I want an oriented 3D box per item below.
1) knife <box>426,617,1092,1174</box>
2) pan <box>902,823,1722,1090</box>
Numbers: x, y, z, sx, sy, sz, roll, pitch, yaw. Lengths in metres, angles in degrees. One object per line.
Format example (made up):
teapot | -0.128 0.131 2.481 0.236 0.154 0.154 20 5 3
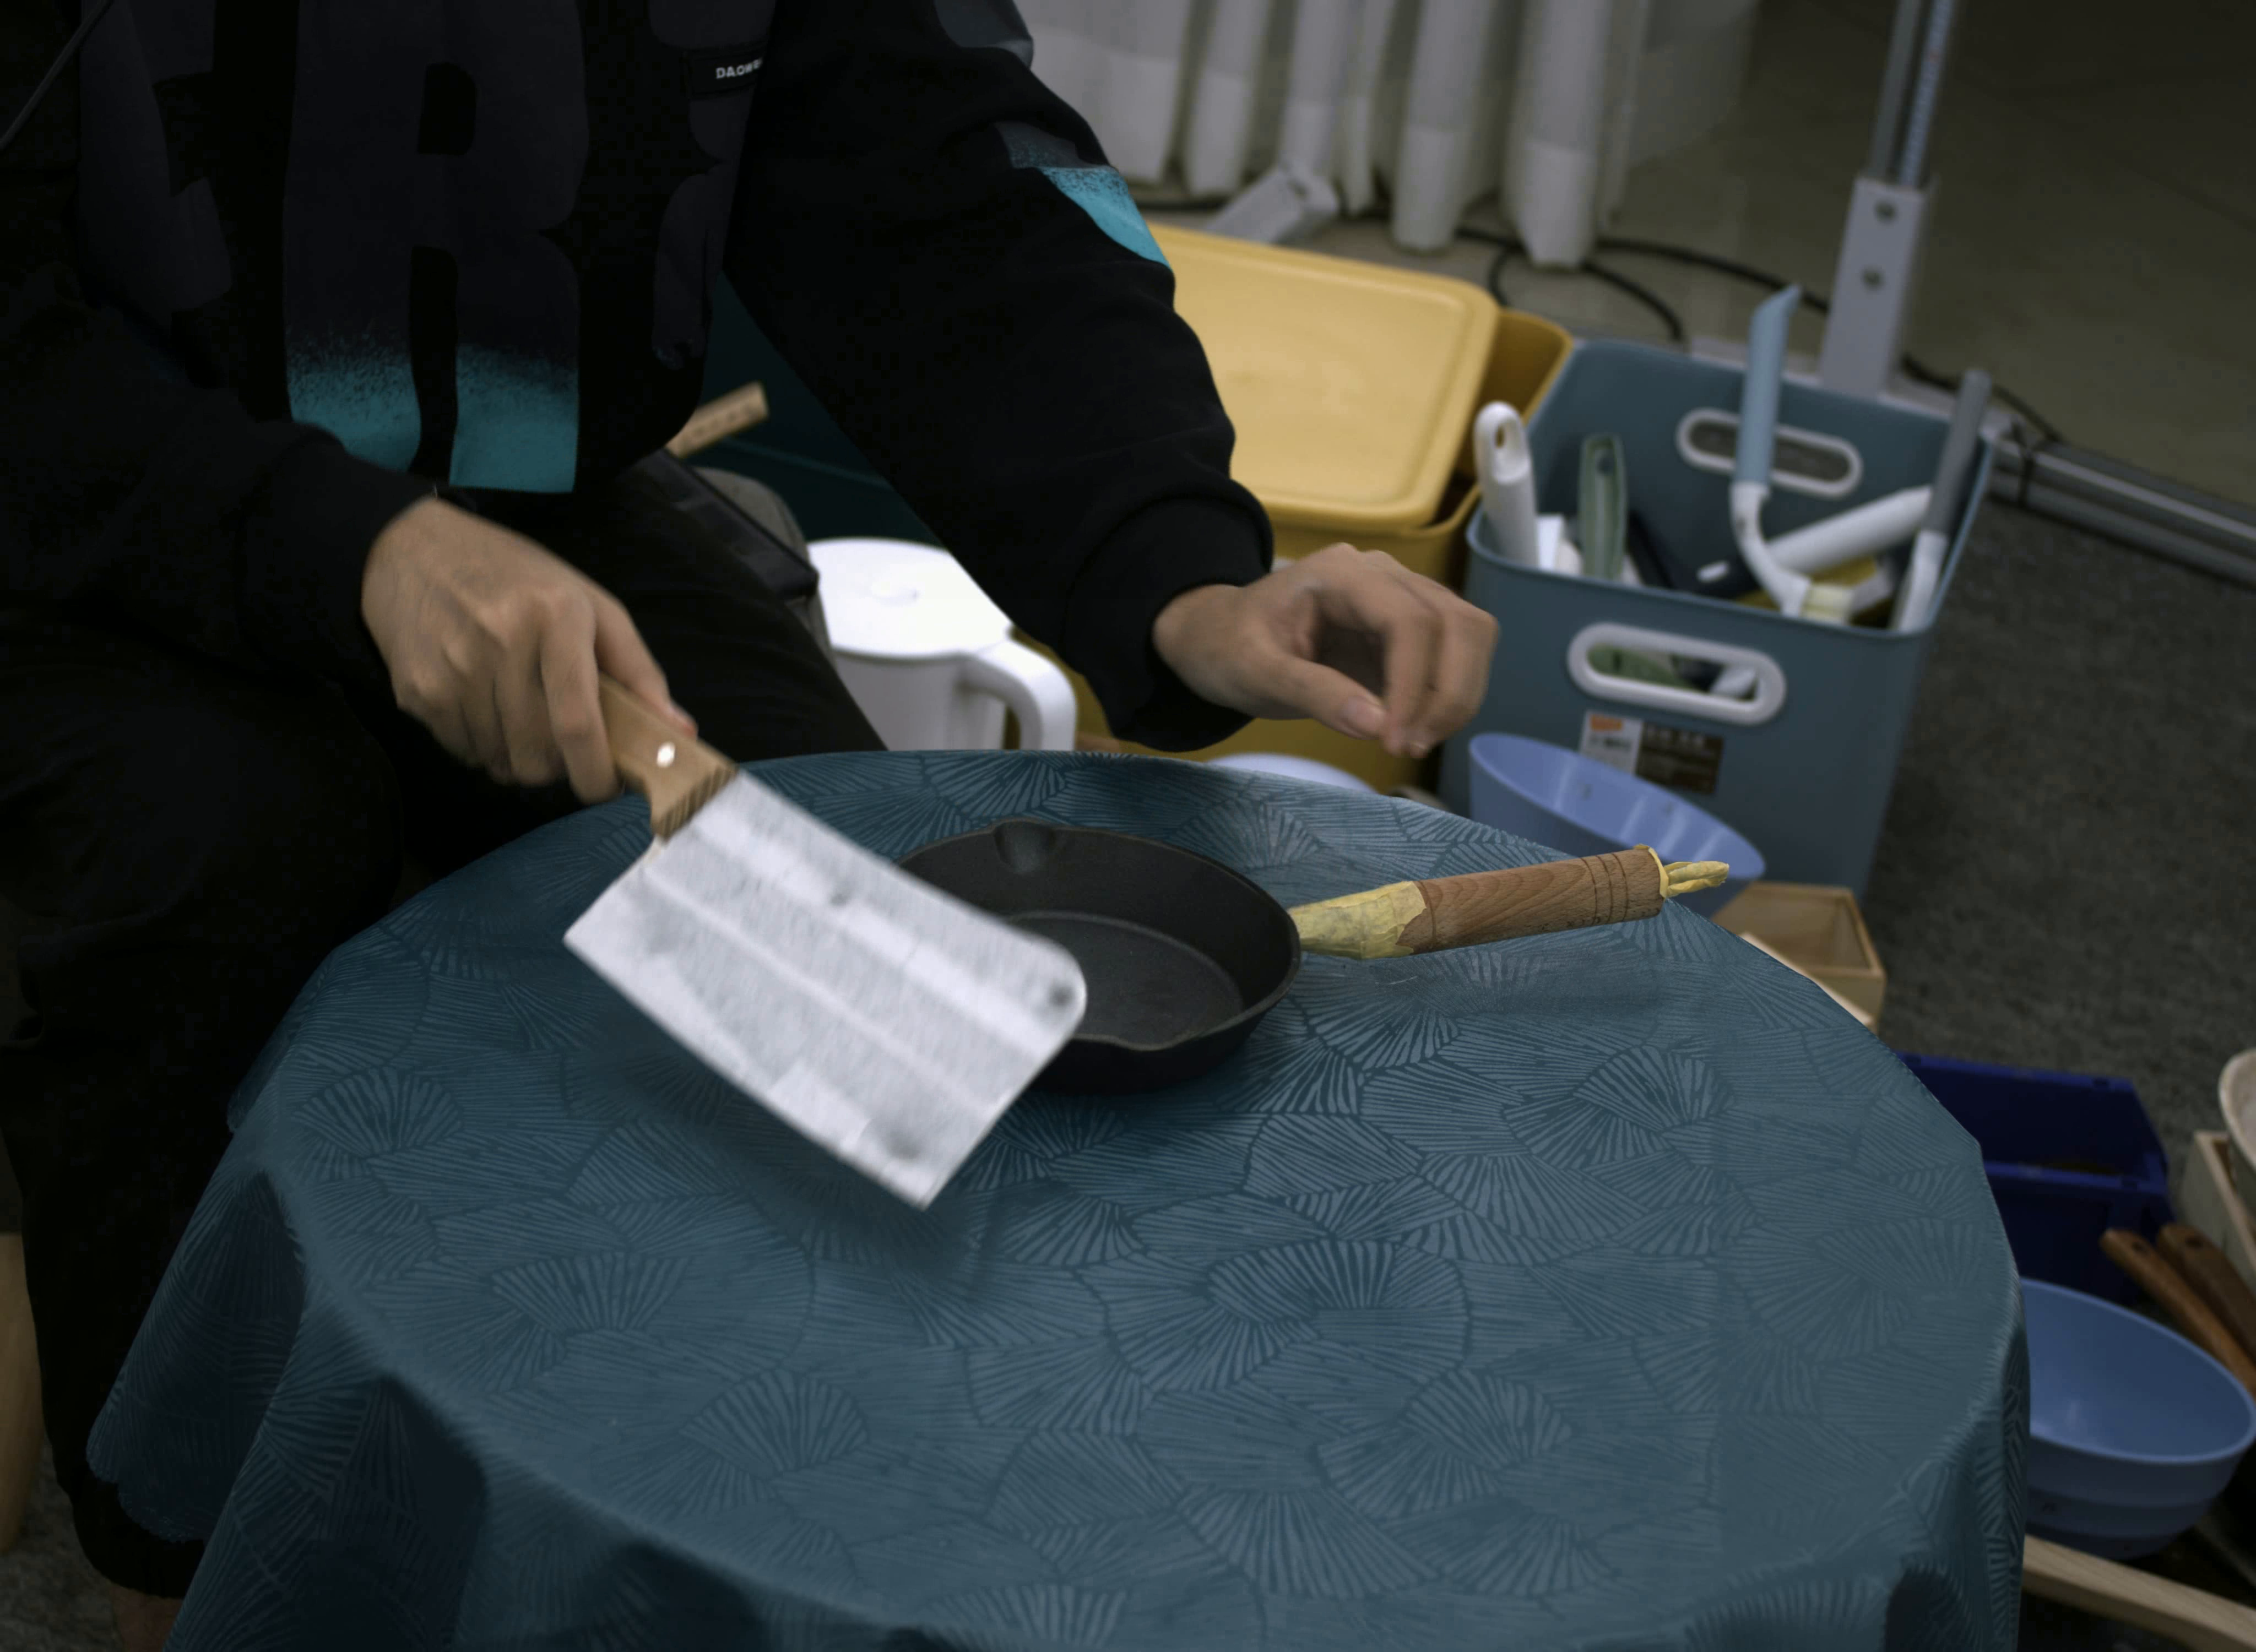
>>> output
knife | -0.137 0.012 1.826 0.114 0.021 0.318 -44 53 -13
pan | 0.064 0.040 1.926 0.322 0.049 0.170 -4 28 -16
